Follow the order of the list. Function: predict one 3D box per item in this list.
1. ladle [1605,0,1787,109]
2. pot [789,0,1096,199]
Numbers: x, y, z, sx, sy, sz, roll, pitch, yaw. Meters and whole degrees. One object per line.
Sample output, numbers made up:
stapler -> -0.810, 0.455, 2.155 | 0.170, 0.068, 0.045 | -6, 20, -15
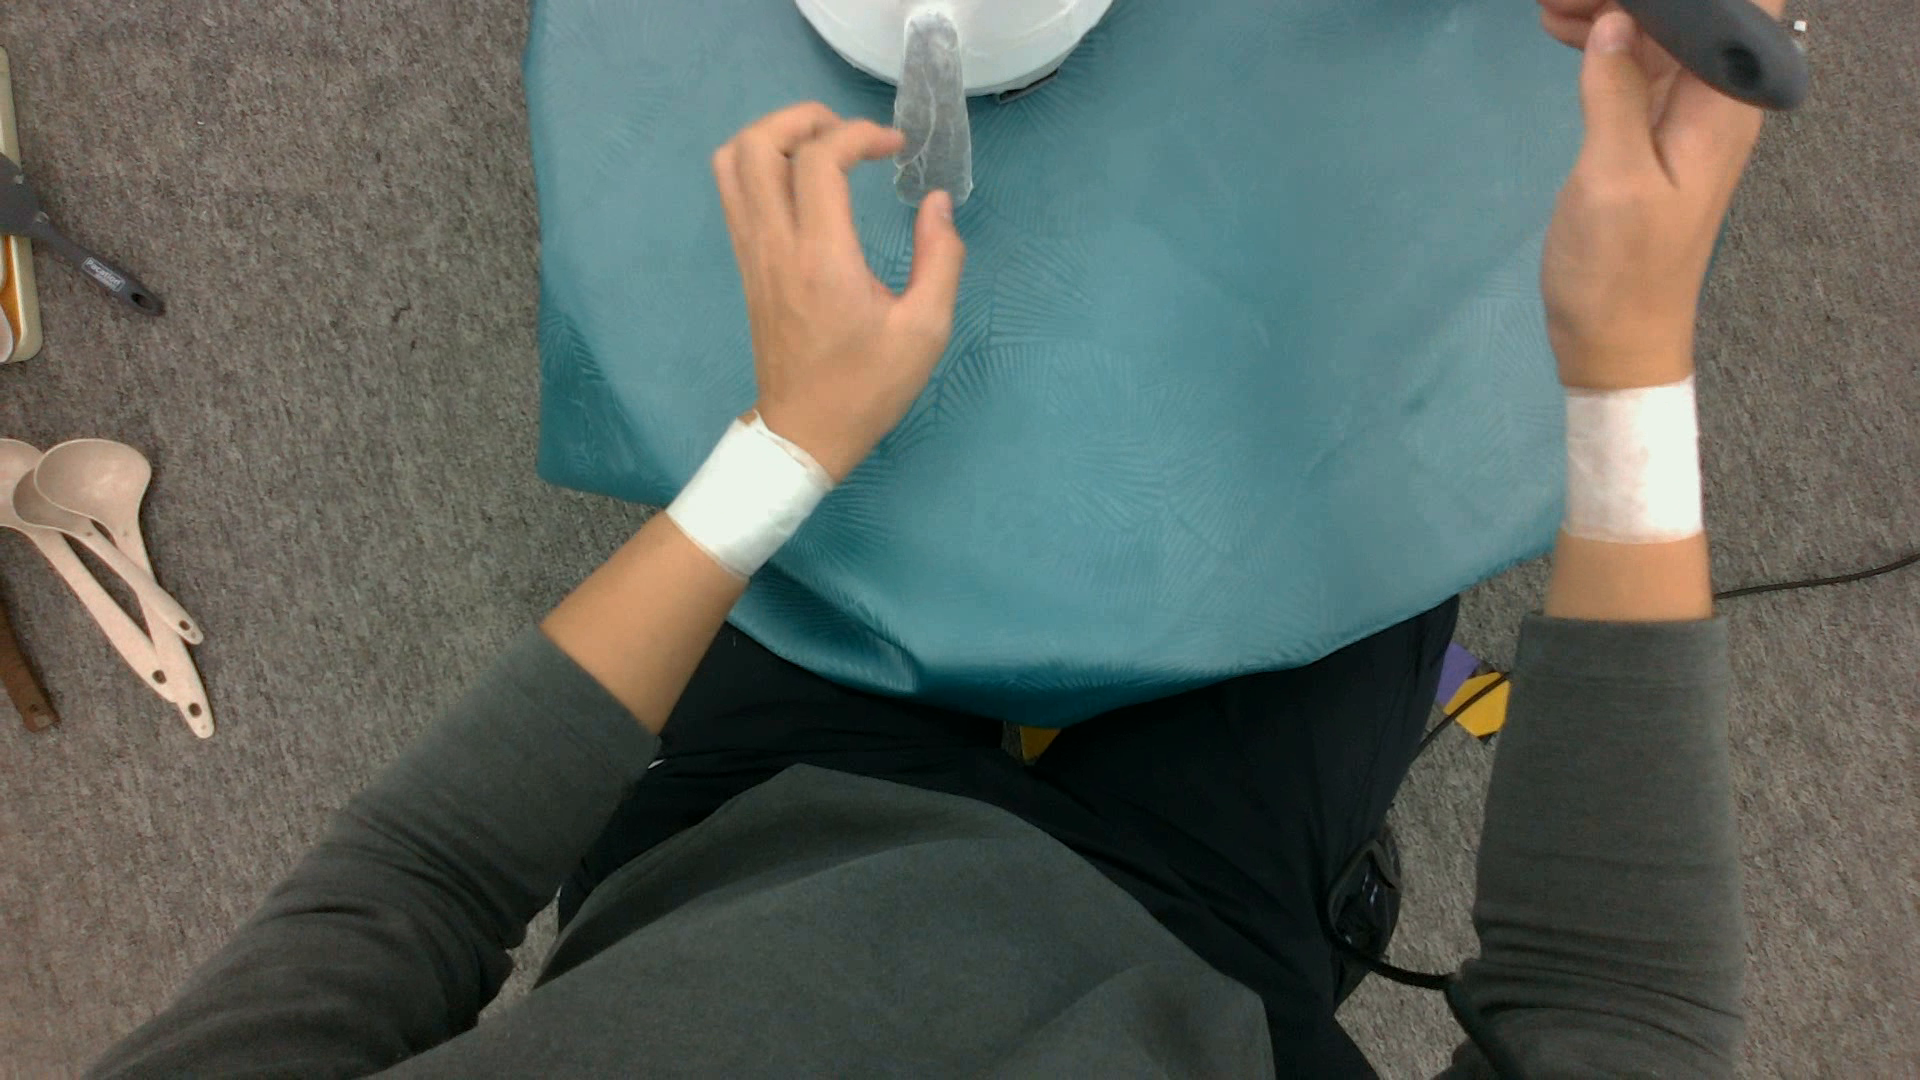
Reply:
ladle -> 0.243, -0.225, 0.501 | 0.064, 0.315, 0.086 | -3, 129, 1
pot -> -0.010, -0.280, 0.622 | 0.179, 0.136, 0.234 | 3, 87, 0
